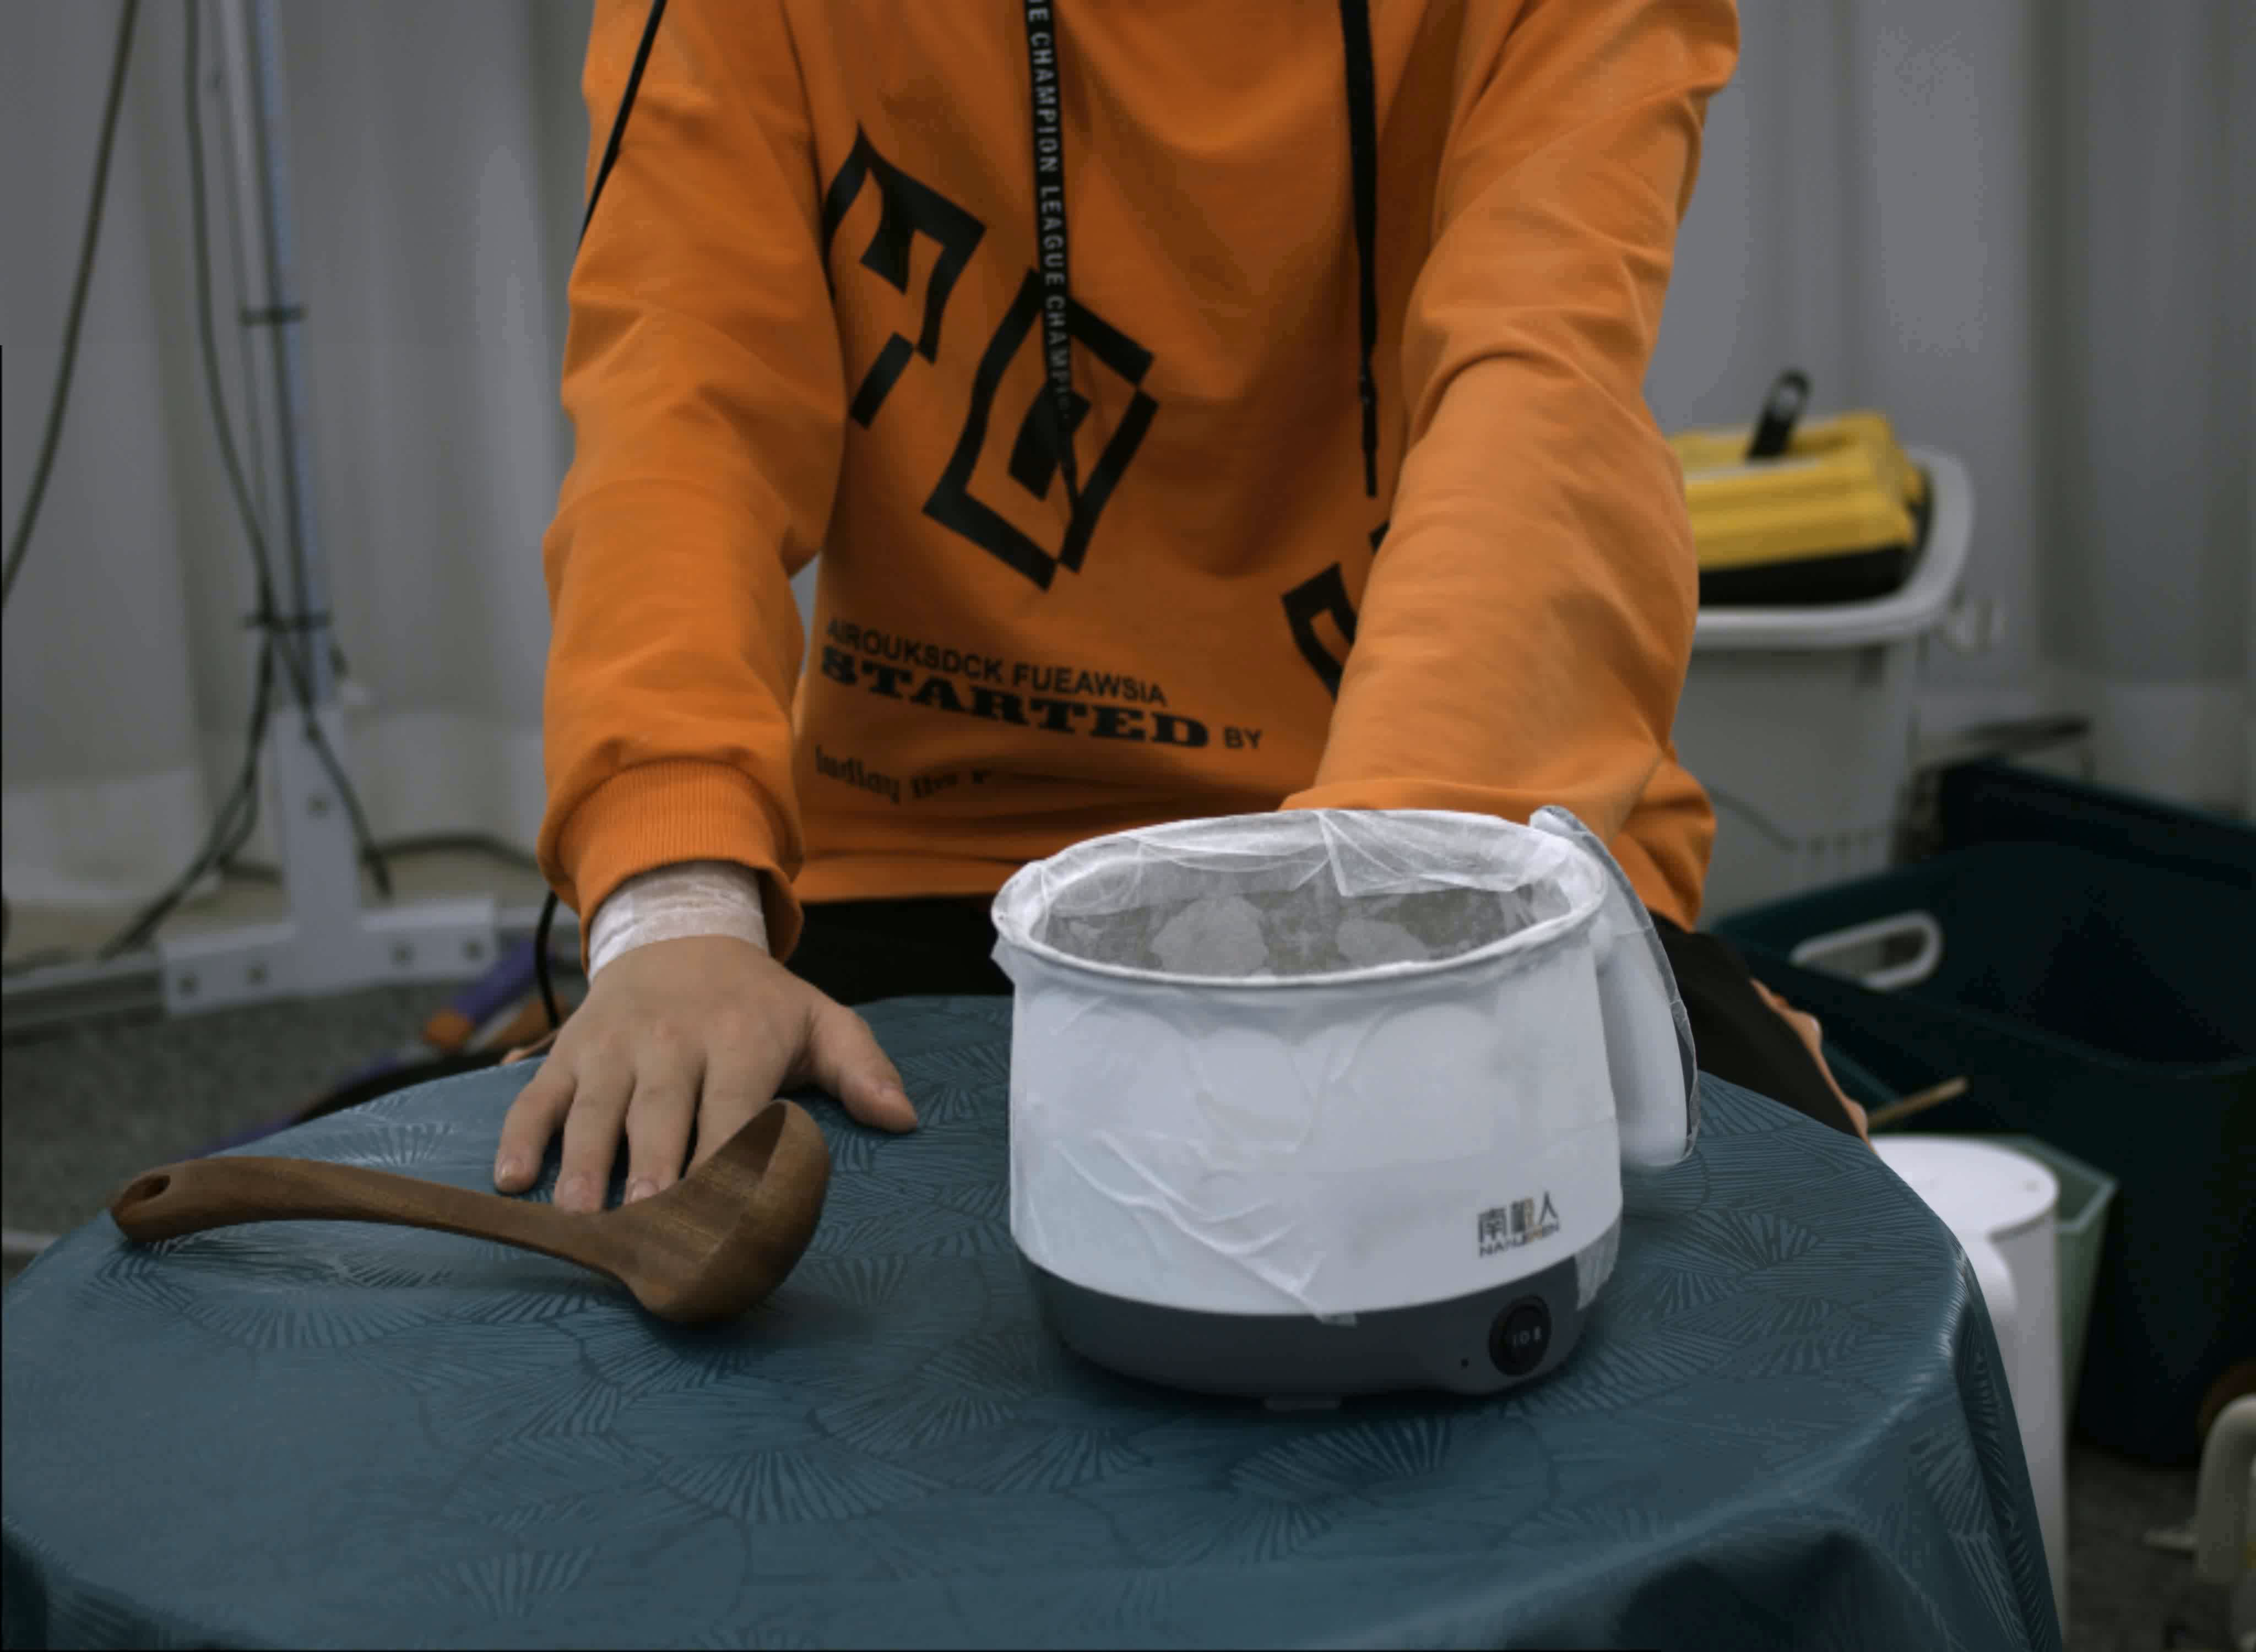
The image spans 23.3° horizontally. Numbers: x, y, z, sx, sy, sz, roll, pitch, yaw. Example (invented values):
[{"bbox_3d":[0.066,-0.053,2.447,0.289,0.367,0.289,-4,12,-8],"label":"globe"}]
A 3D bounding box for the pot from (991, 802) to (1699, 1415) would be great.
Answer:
[{"bbox_3d":[0.073,0.073,1.589,0.233,0.136,0.180,-15,20,-38],"label":"pot"}]

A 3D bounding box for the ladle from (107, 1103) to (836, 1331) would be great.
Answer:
[{"bbox_3d":[-0.205,0.110,1.656,0.260,0.064,0.077,4,42,24],"label":"ladle"}]
